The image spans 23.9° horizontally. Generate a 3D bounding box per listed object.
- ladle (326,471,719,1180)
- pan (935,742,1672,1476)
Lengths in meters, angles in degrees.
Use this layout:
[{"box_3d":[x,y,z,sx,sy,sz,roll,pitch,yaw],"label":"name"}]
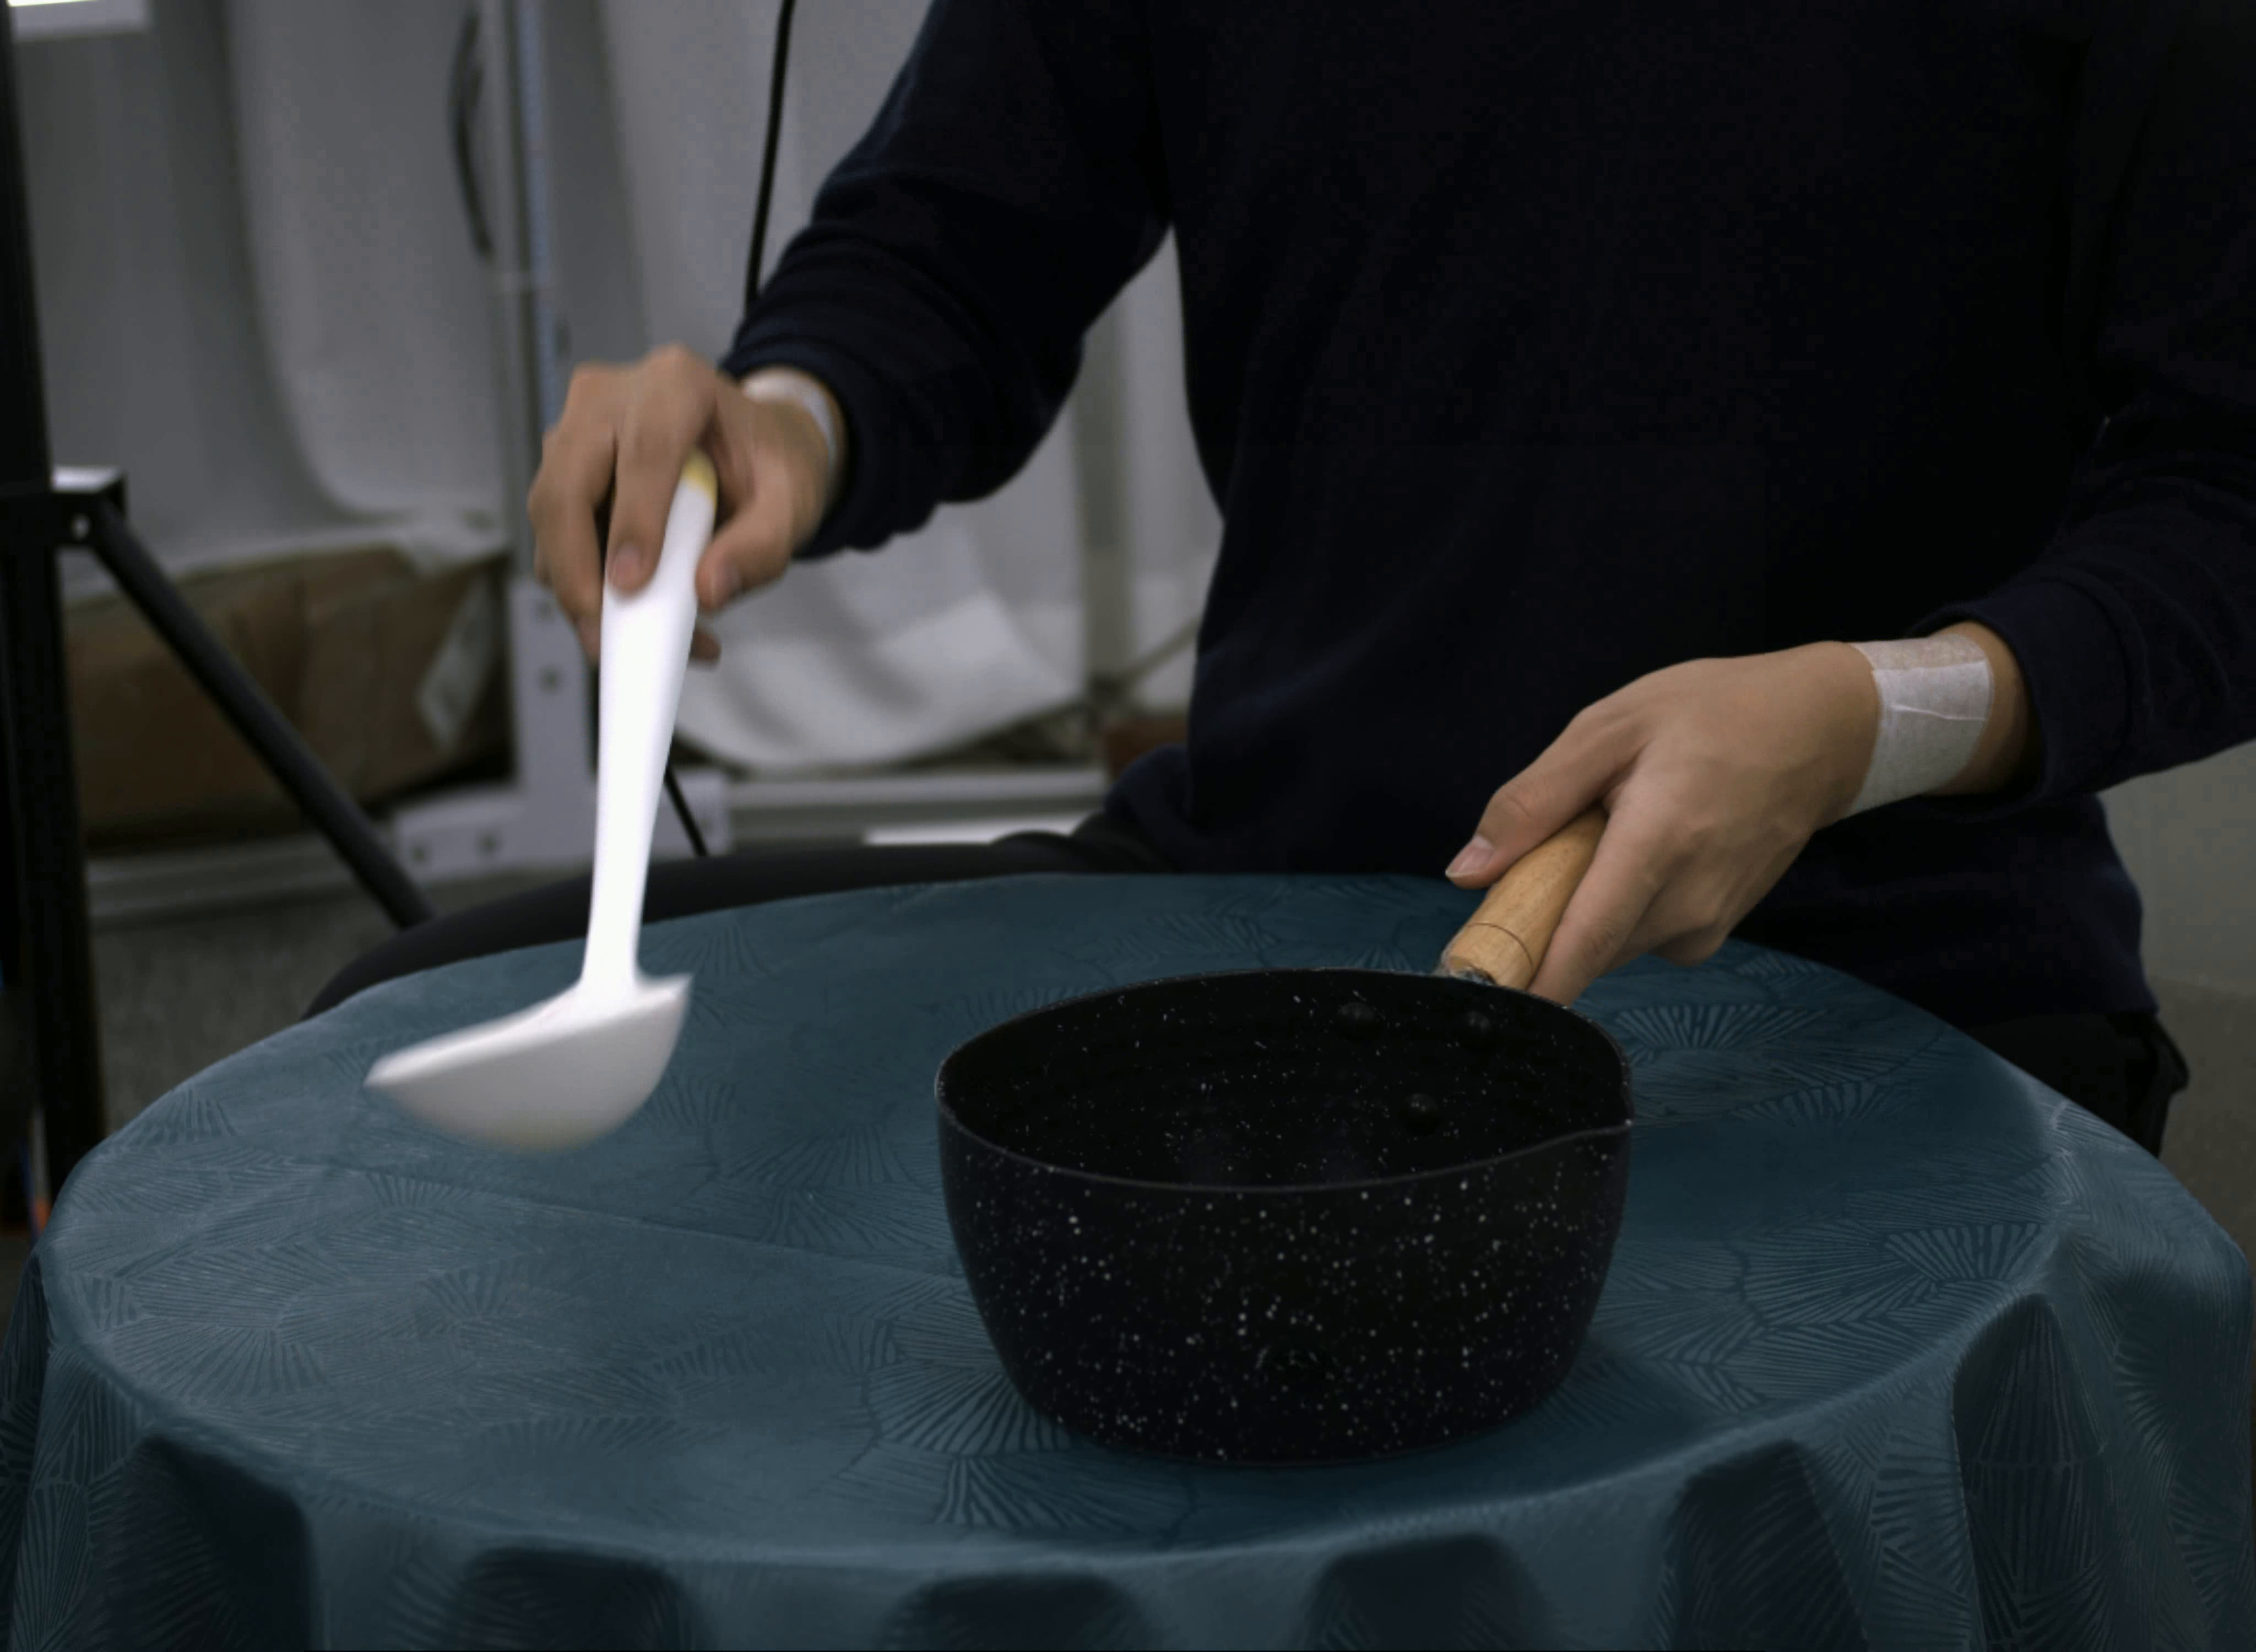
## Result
[{"box_3d":[-0.160,-0.010,1.511,0.091,0.068,0.295,-23,36,25],"label":"ladle"},{"box_3d":[0.077,0.073,1.471,0.211,0.108,0.337,4,18,27],"label":"pan"}]
